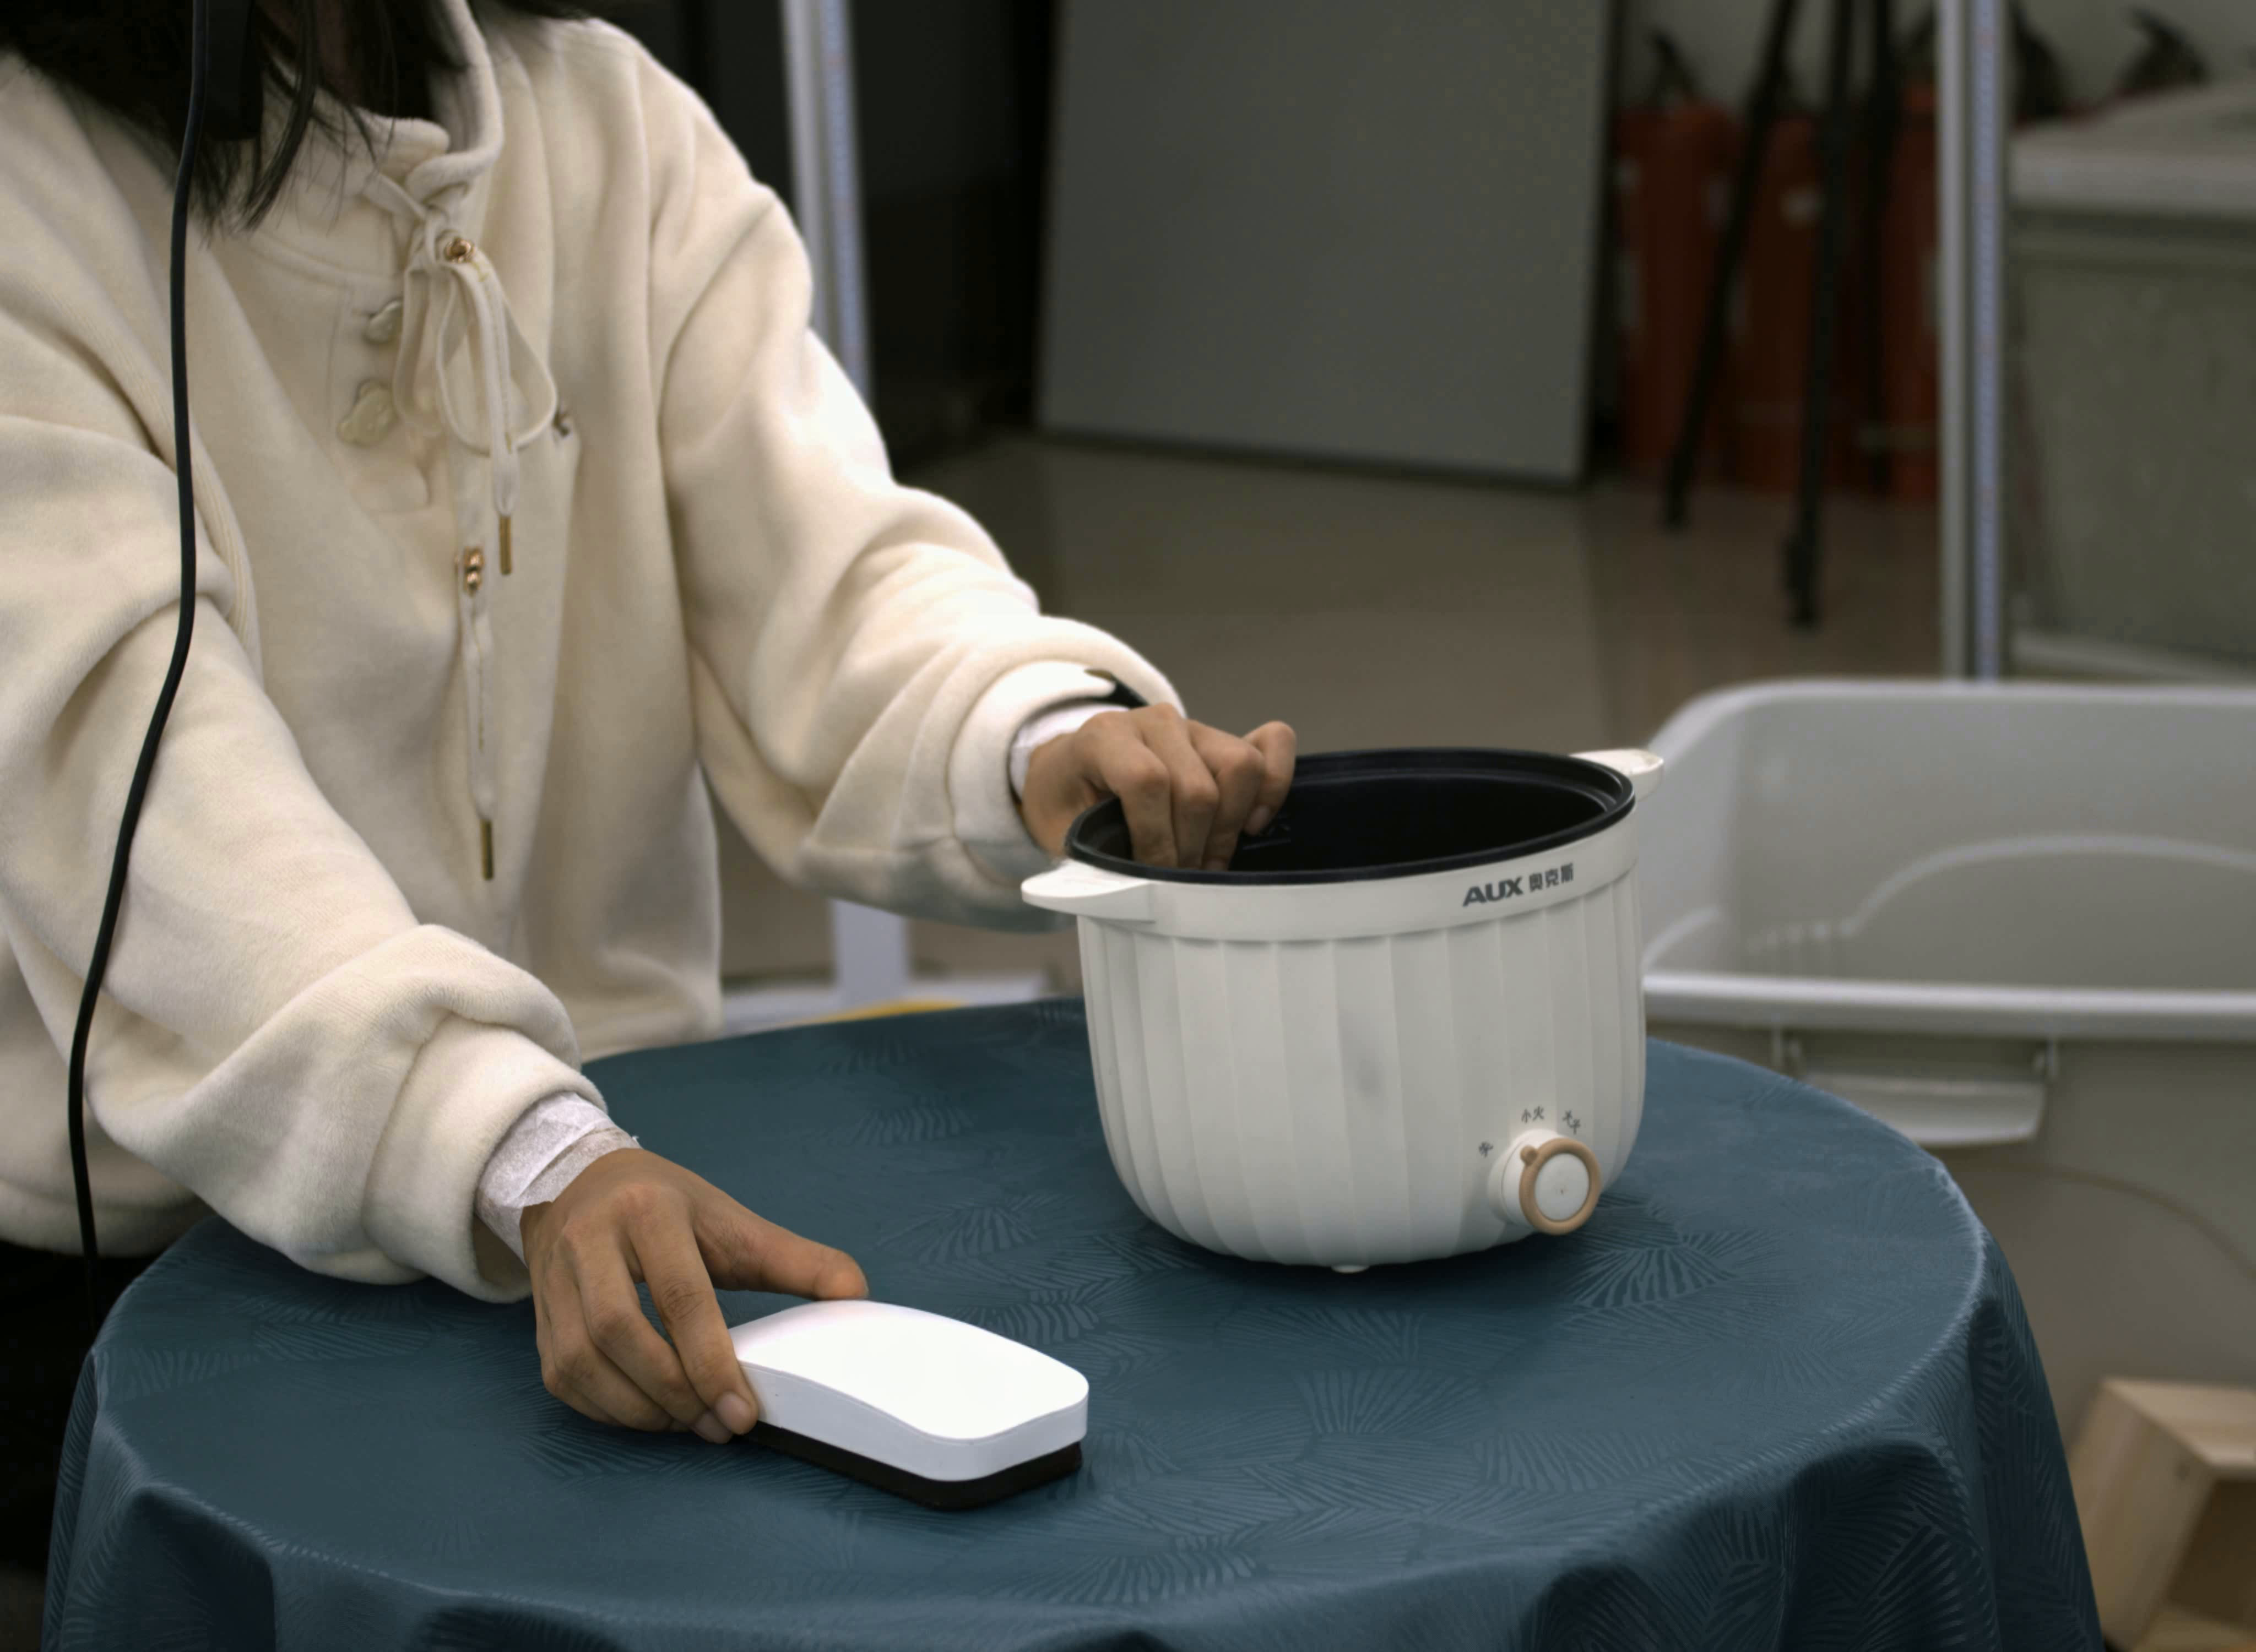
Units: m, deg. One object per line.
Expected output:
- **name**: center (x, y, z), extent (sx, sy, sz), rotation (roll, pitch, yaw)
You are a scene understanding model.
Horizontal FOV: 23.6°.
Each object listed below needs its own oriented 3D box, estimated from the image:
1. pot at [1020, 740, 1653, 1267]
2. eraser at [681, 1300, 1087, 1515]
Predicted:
- **pot**: center (0.079, 0.057, 1.703), extent (0.235, 0.144, 0.192), rotation (-13, 10, -30)
- **eraser**: center (-0.070, 0.164, 1.553), extent (0.062, 0.035, 0.132), rotation (-13, 16, -40)
